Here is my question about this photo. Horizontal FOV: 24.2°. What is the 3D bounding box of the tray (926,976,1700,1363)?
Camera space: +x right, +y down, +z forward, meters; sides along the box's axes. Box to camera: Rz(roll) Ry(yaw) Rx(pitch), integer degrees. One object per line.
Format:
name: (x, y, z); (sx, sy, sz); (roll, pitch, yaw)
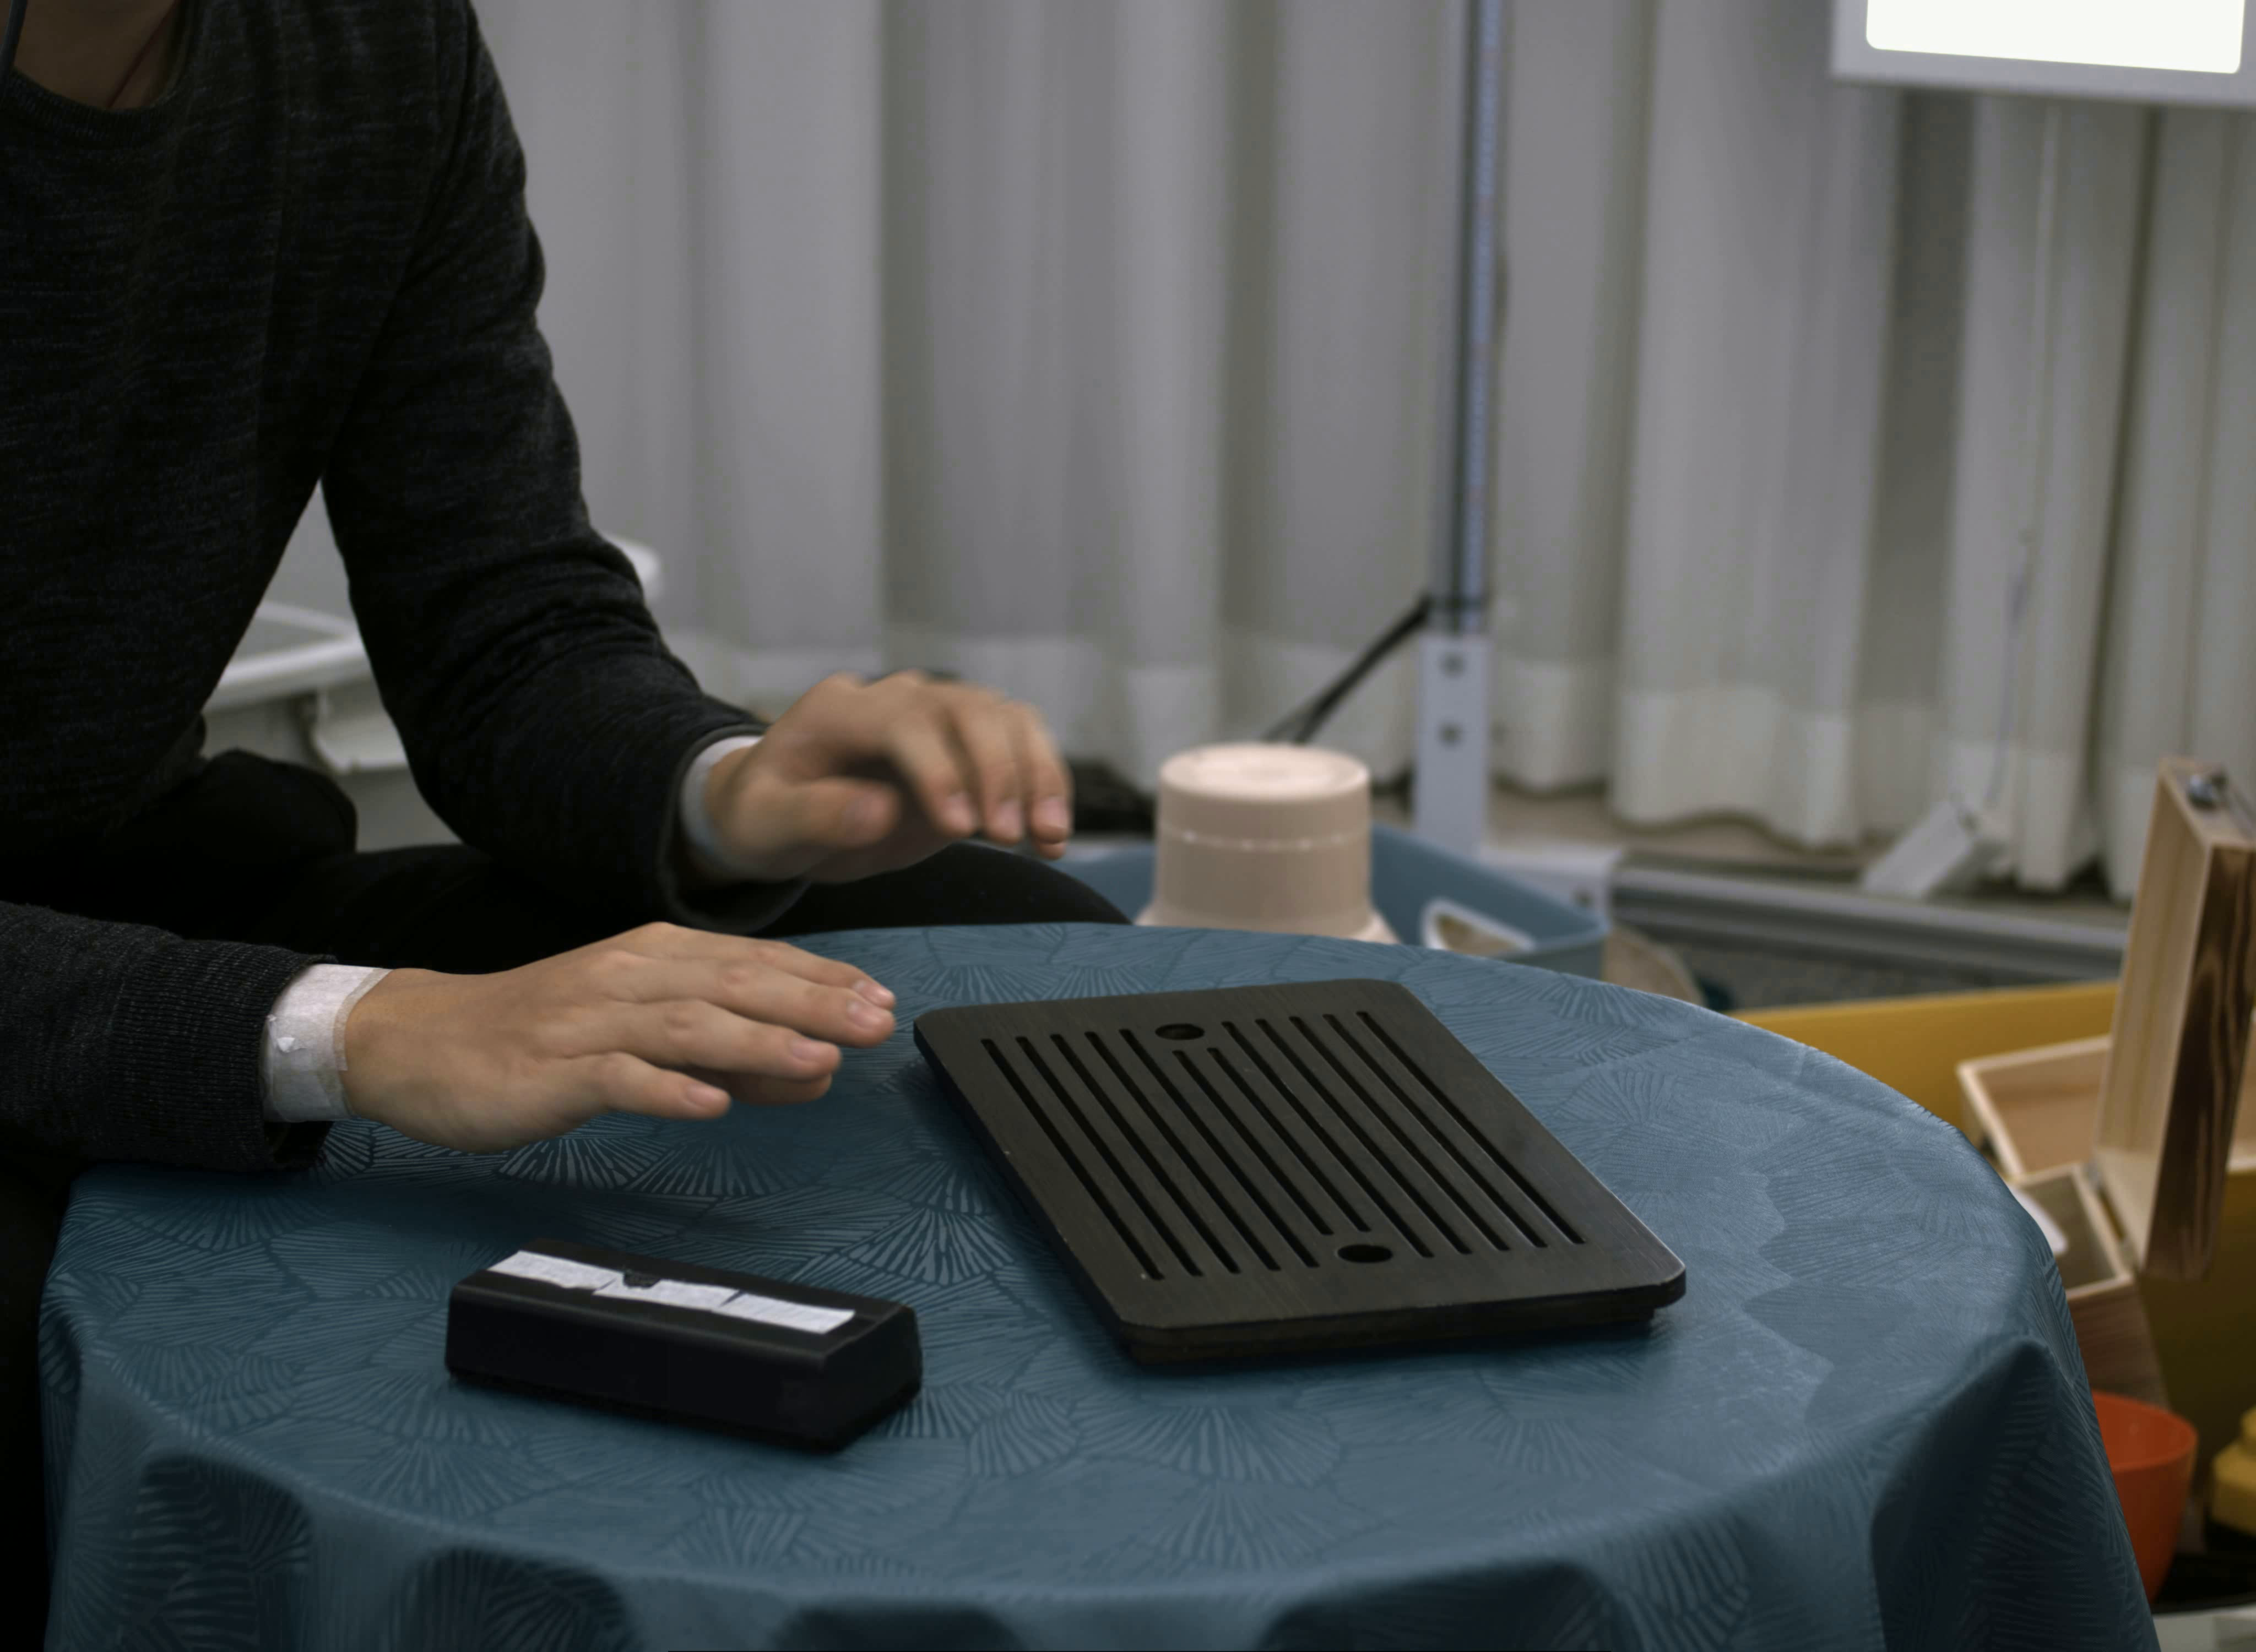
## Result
tray: (0.049, 0.102, 1.624); (0.170, 0.019, 0.303); (-4, 16, -14)

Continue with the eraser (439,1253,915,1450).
eraser: (-0.124, 0.144, 1.451); (0.124, 0.030, 0.053); (6, 14, 24)
